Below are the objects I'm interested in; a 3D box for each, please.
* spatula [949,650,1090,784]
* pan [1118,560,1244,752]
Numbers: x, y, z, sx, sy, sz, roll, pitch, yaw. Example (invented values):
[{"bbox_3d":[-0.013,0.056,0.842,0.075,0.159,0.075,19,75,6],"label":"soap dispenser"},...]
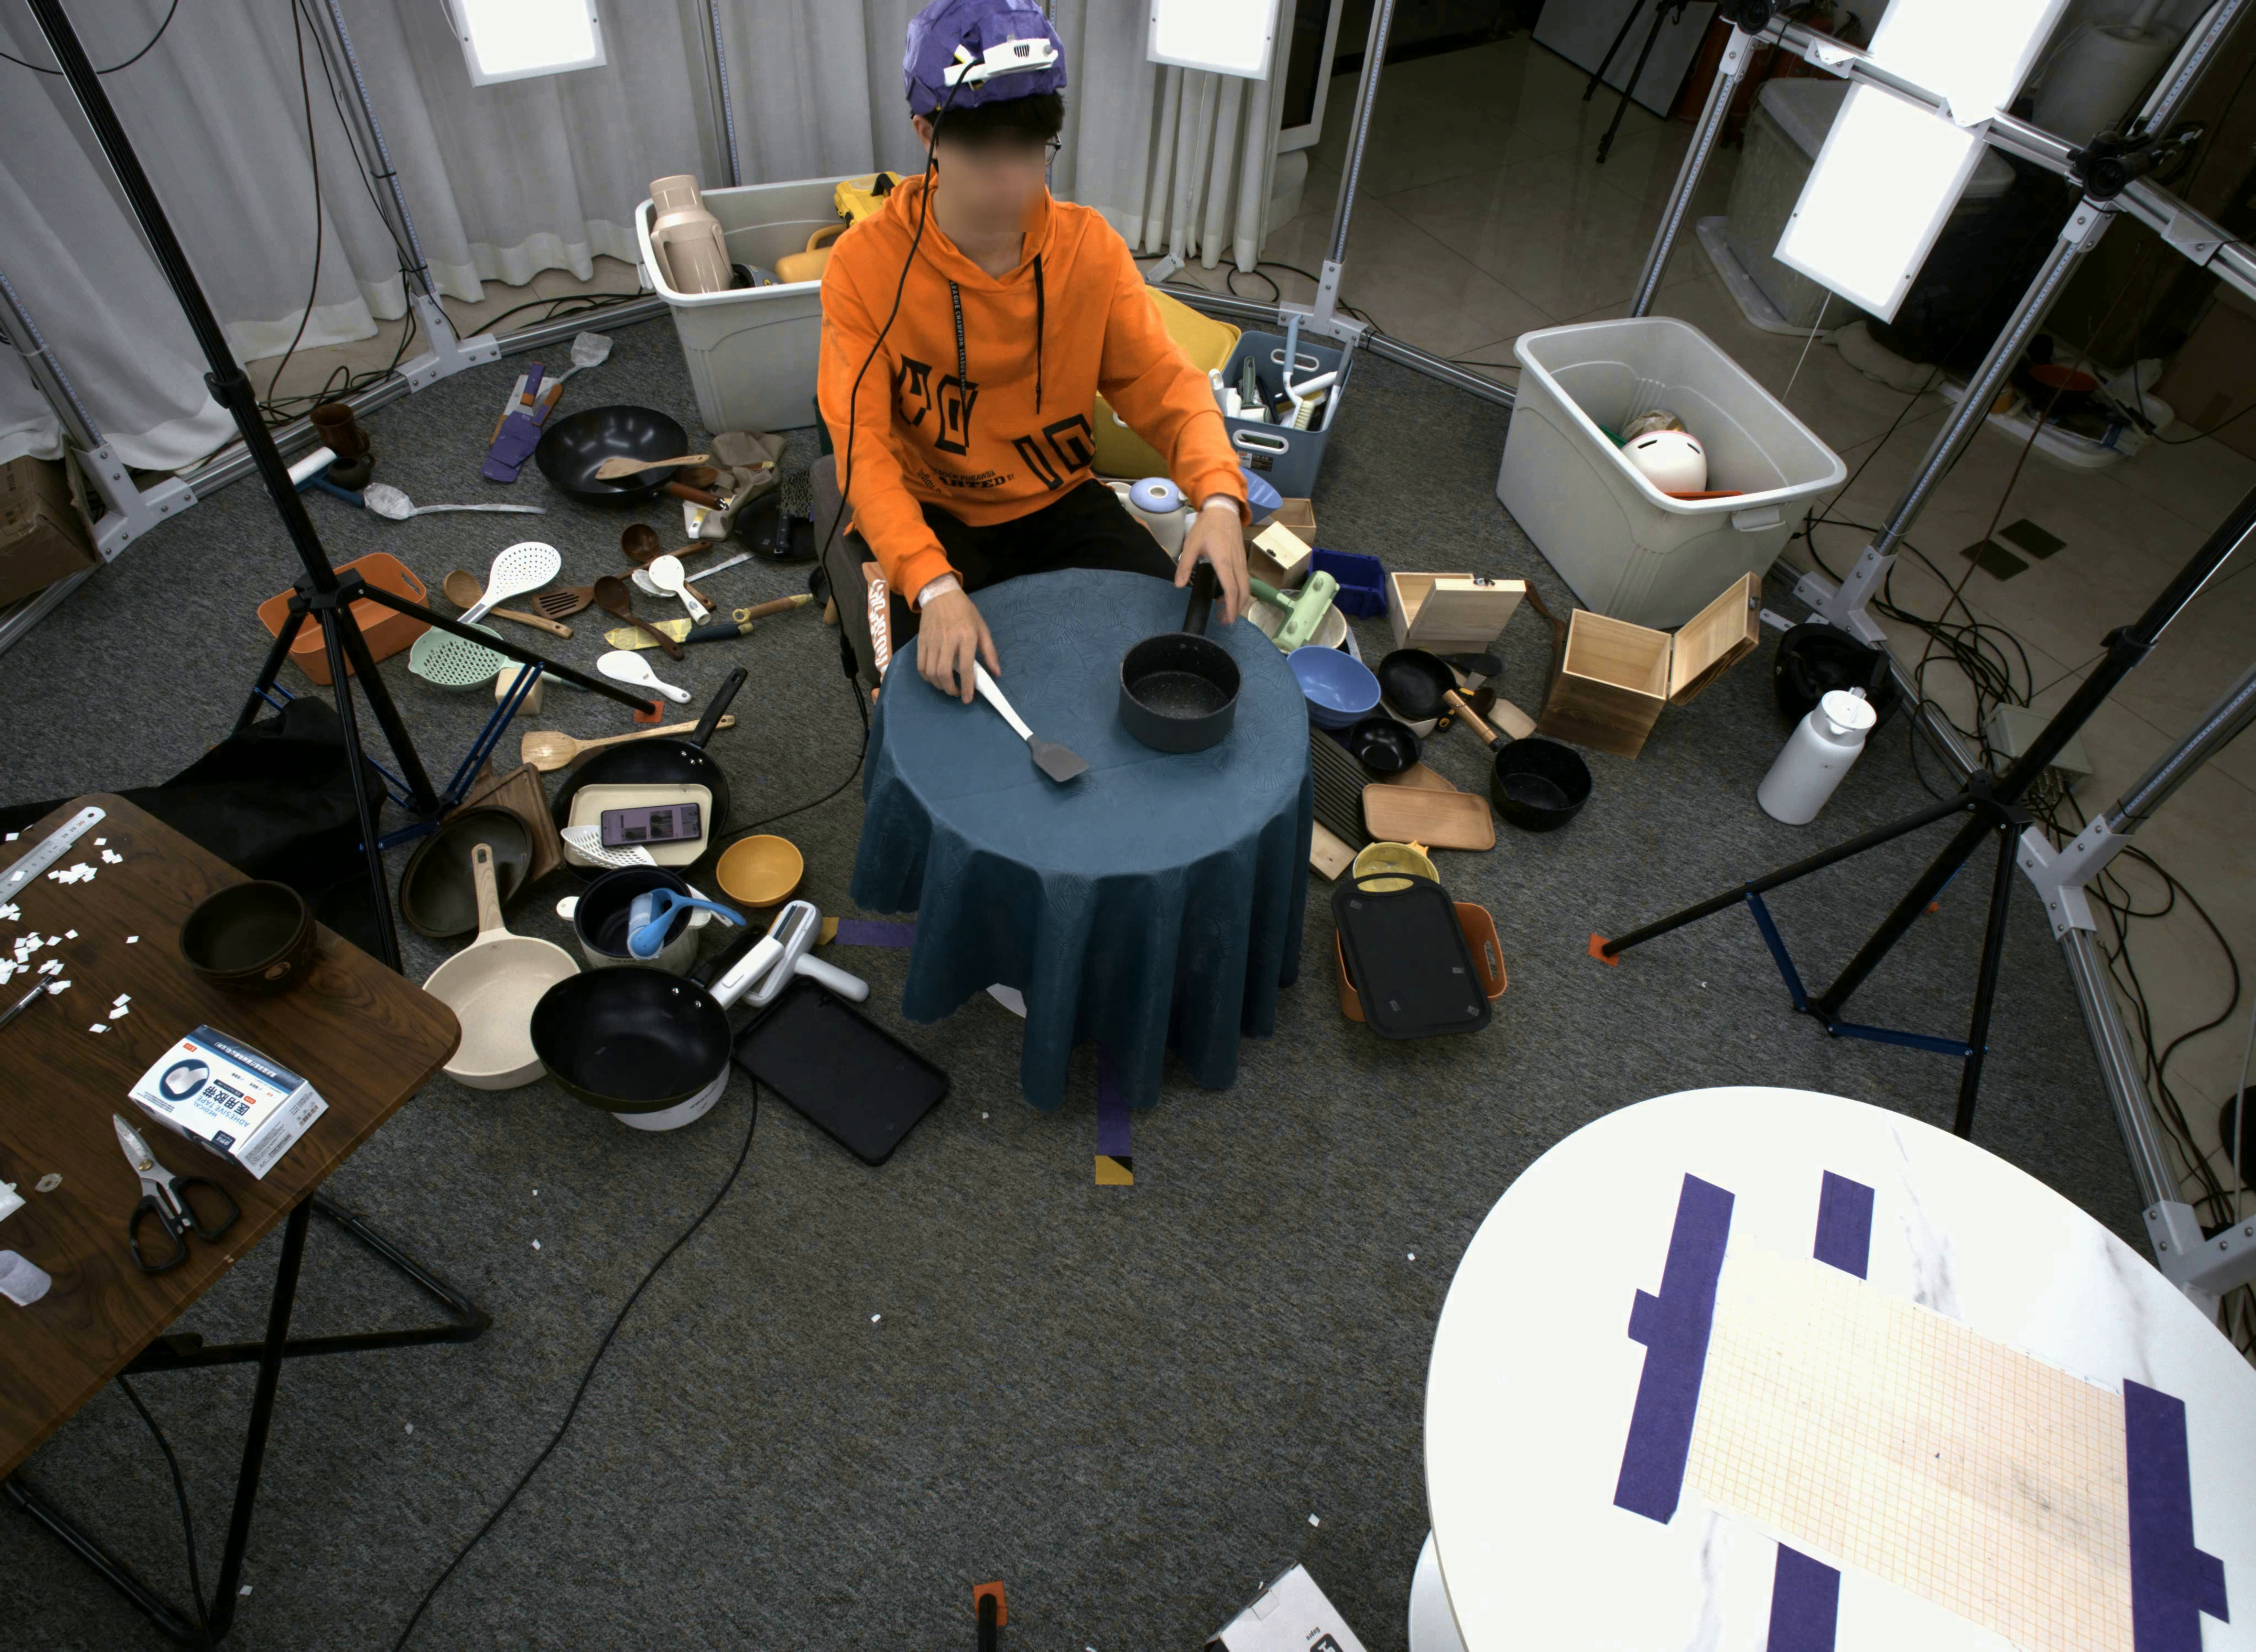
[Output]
[{"bbox_3d":[-0.155,-0.149,1.767,0.059,0.031,0.293,-25,54,-29],"label":"spatula"},{"bbox_3d":[0.090,-0.246,1.834,0.172,0.084,0.336,13,51,6],"label":"pan"}]
